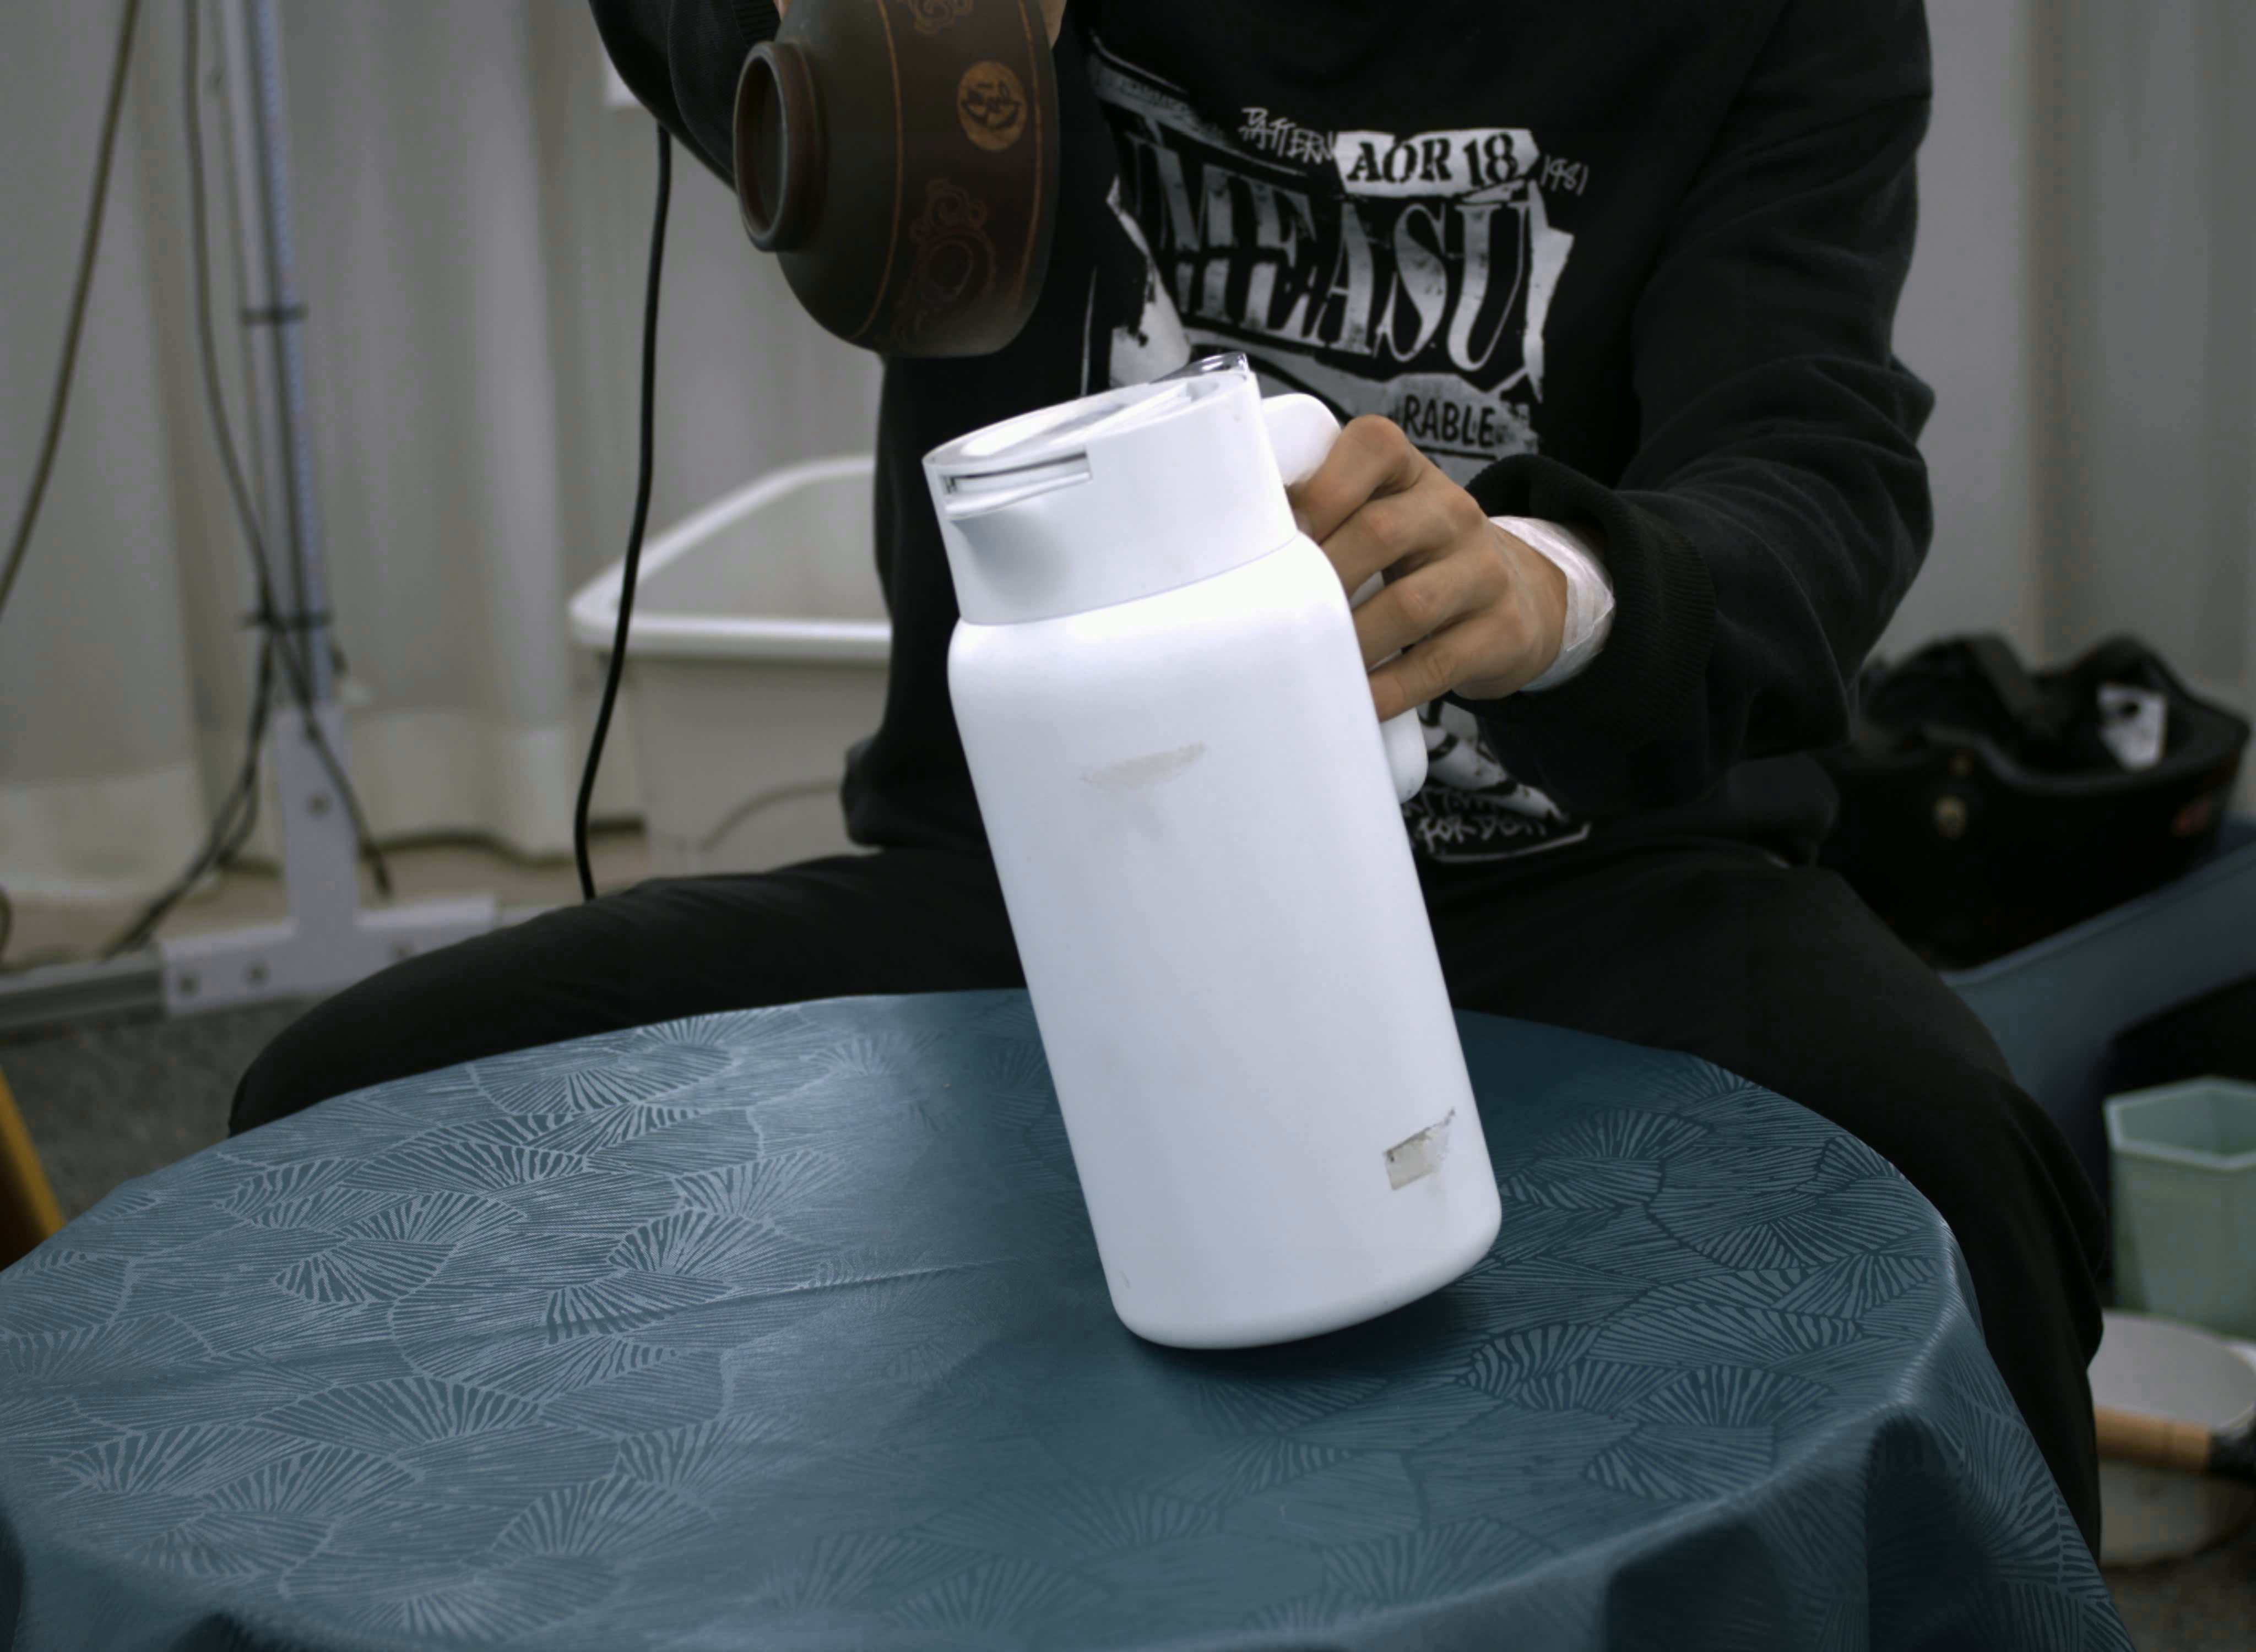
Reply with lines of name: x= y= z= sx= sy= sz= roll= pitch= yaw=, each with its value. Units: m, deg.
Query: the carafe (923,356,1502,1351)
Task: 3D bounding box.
carafe: x=0.030 y=0.003 z=1.584 sx=0.124 sy=0.268 sz=0.173 roll=-10 pitch=11 yaw=36

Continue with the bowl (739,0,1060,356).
bowl: x=-0.068 y=-0.190 z=1.528 sx=0.069 sy=0.118 sz=0.119 roll=-1 pitch=13 yaw=-19
